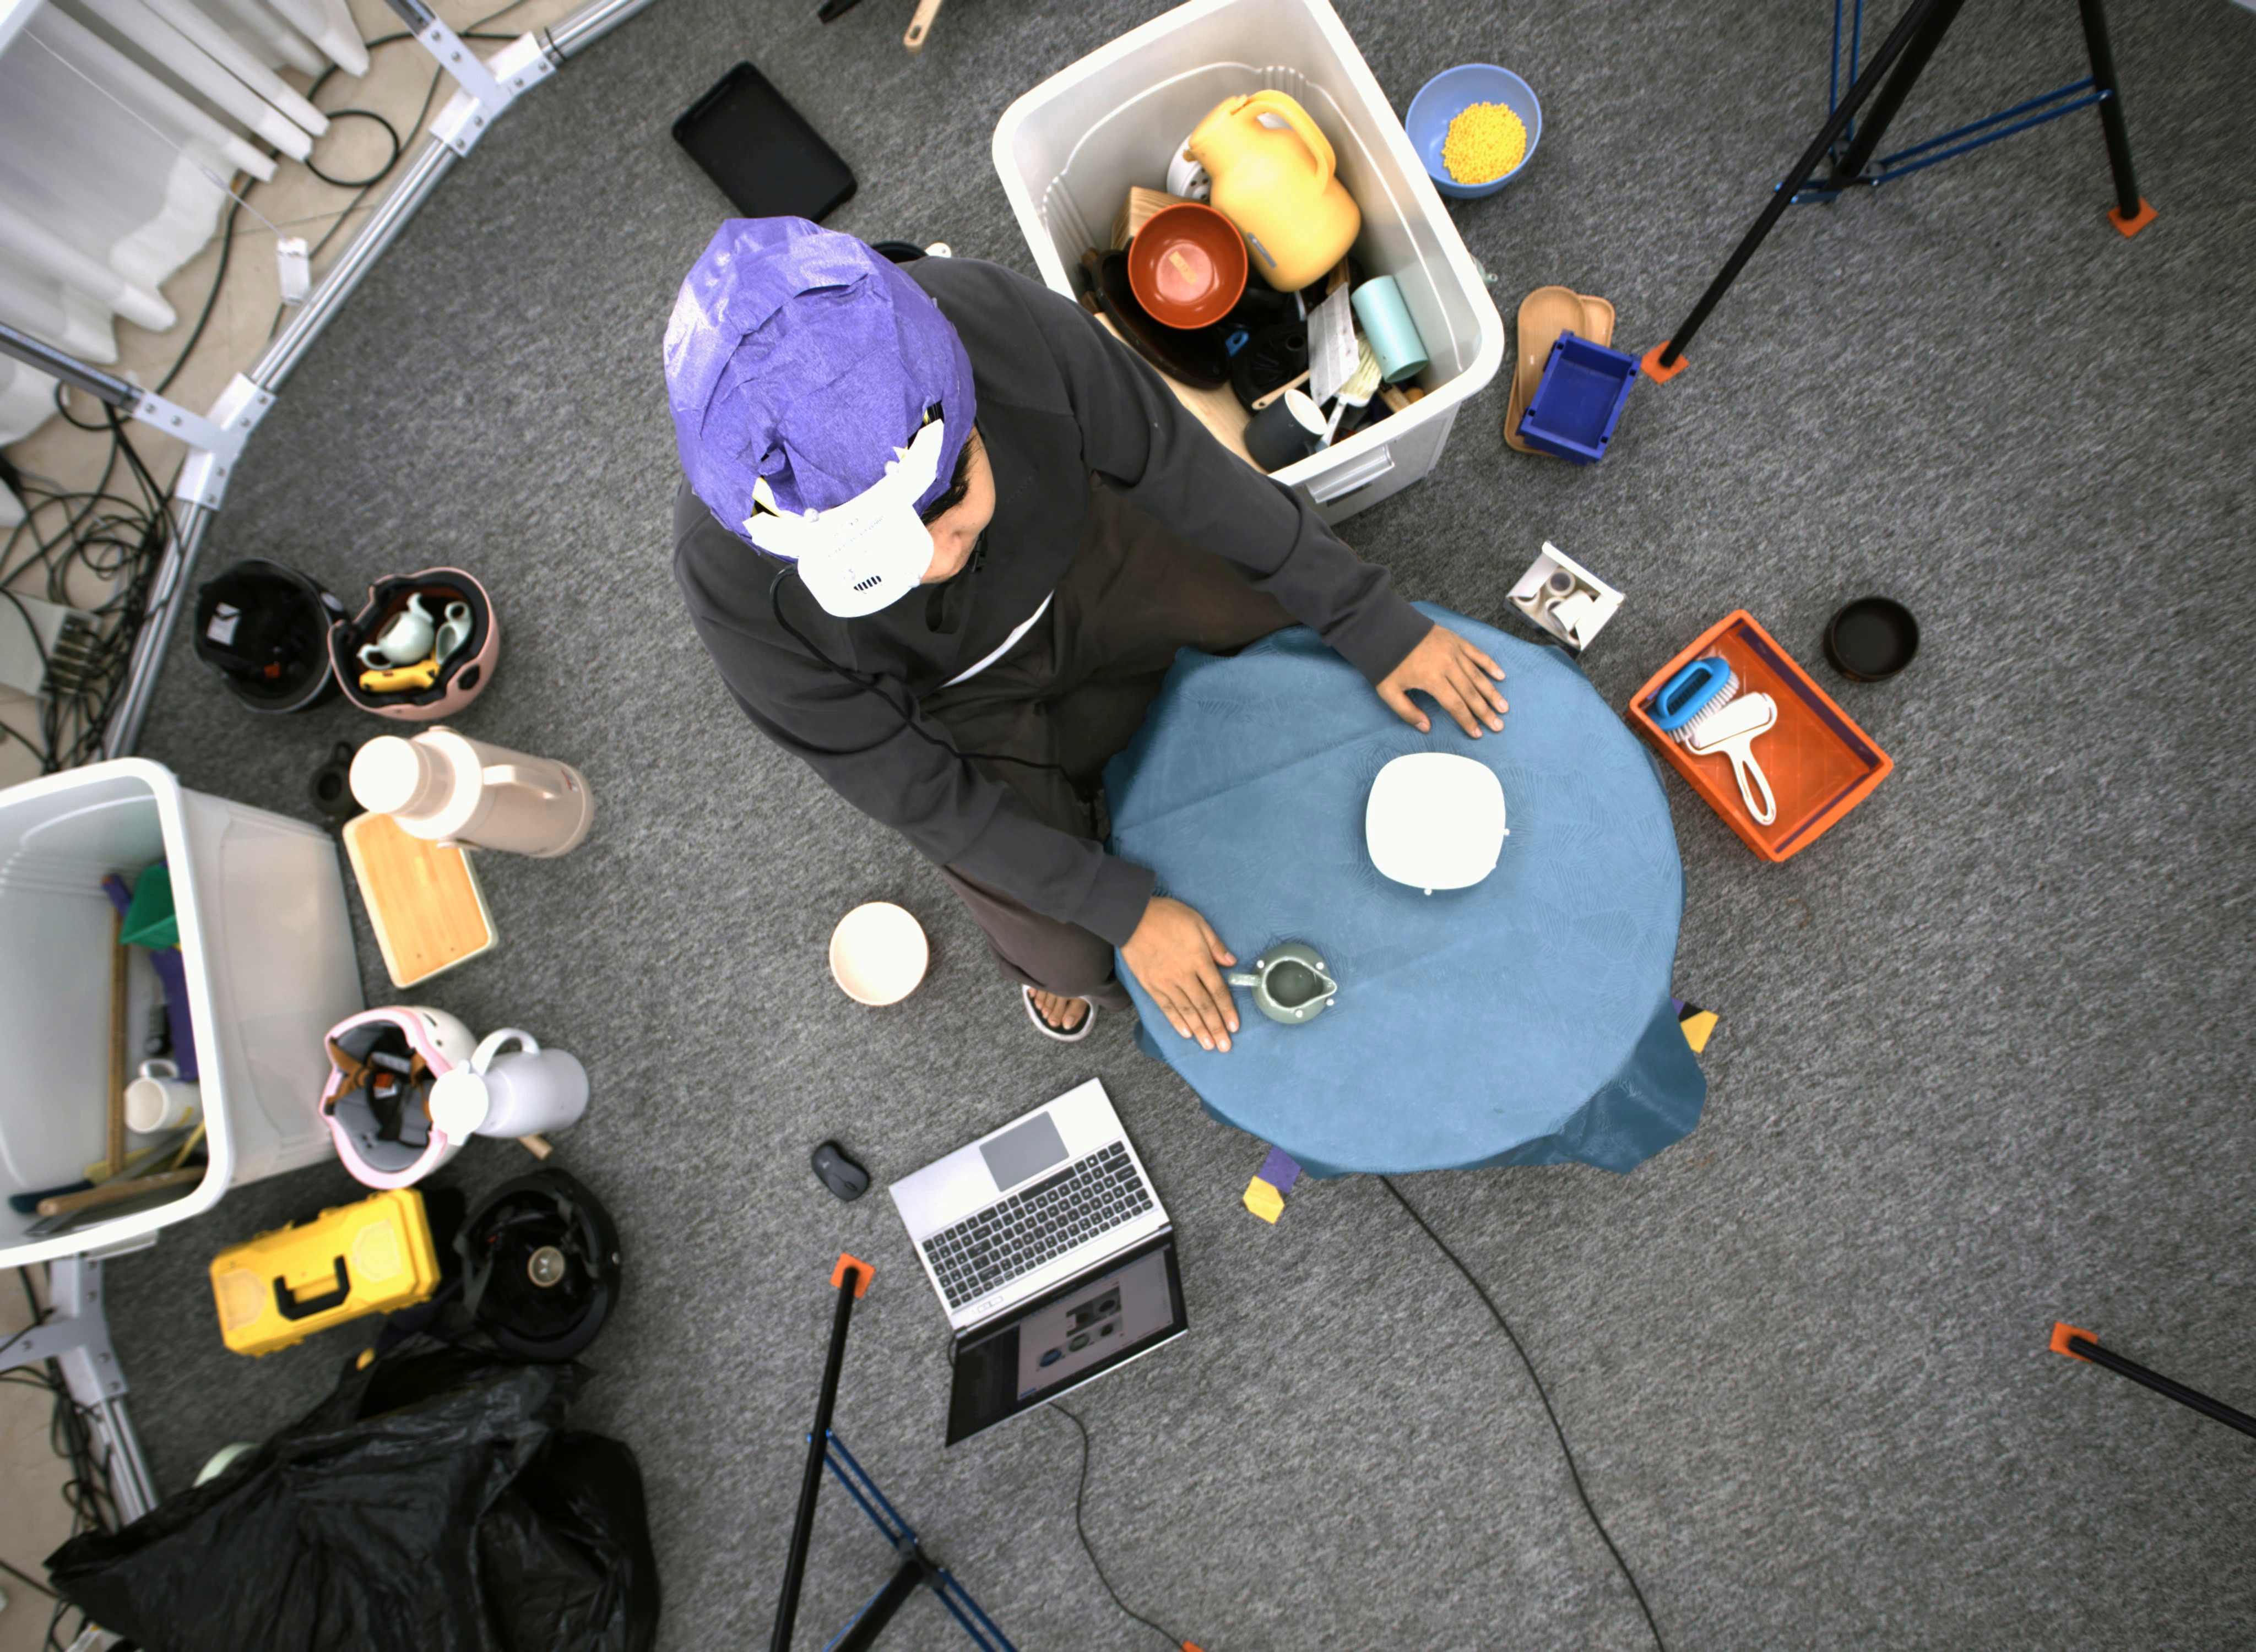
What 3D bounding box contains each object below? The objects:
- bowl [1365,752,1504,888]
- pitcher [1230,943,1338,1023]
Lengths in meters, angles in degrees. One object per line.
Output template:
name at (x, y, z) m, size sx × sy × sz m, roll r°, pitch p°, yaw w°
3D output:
bowl at (0.316, -0.006, 1.429) m, size 0.152 × 0.058 × 0.151 m, roll -1°, pitch 87°, yaw 10°
pitcher at (0.164, 0.163, 1.448) m, size 0.113 × 0.056 × 0.084 m, roll 1°, pitch 85°, yaw 12°
